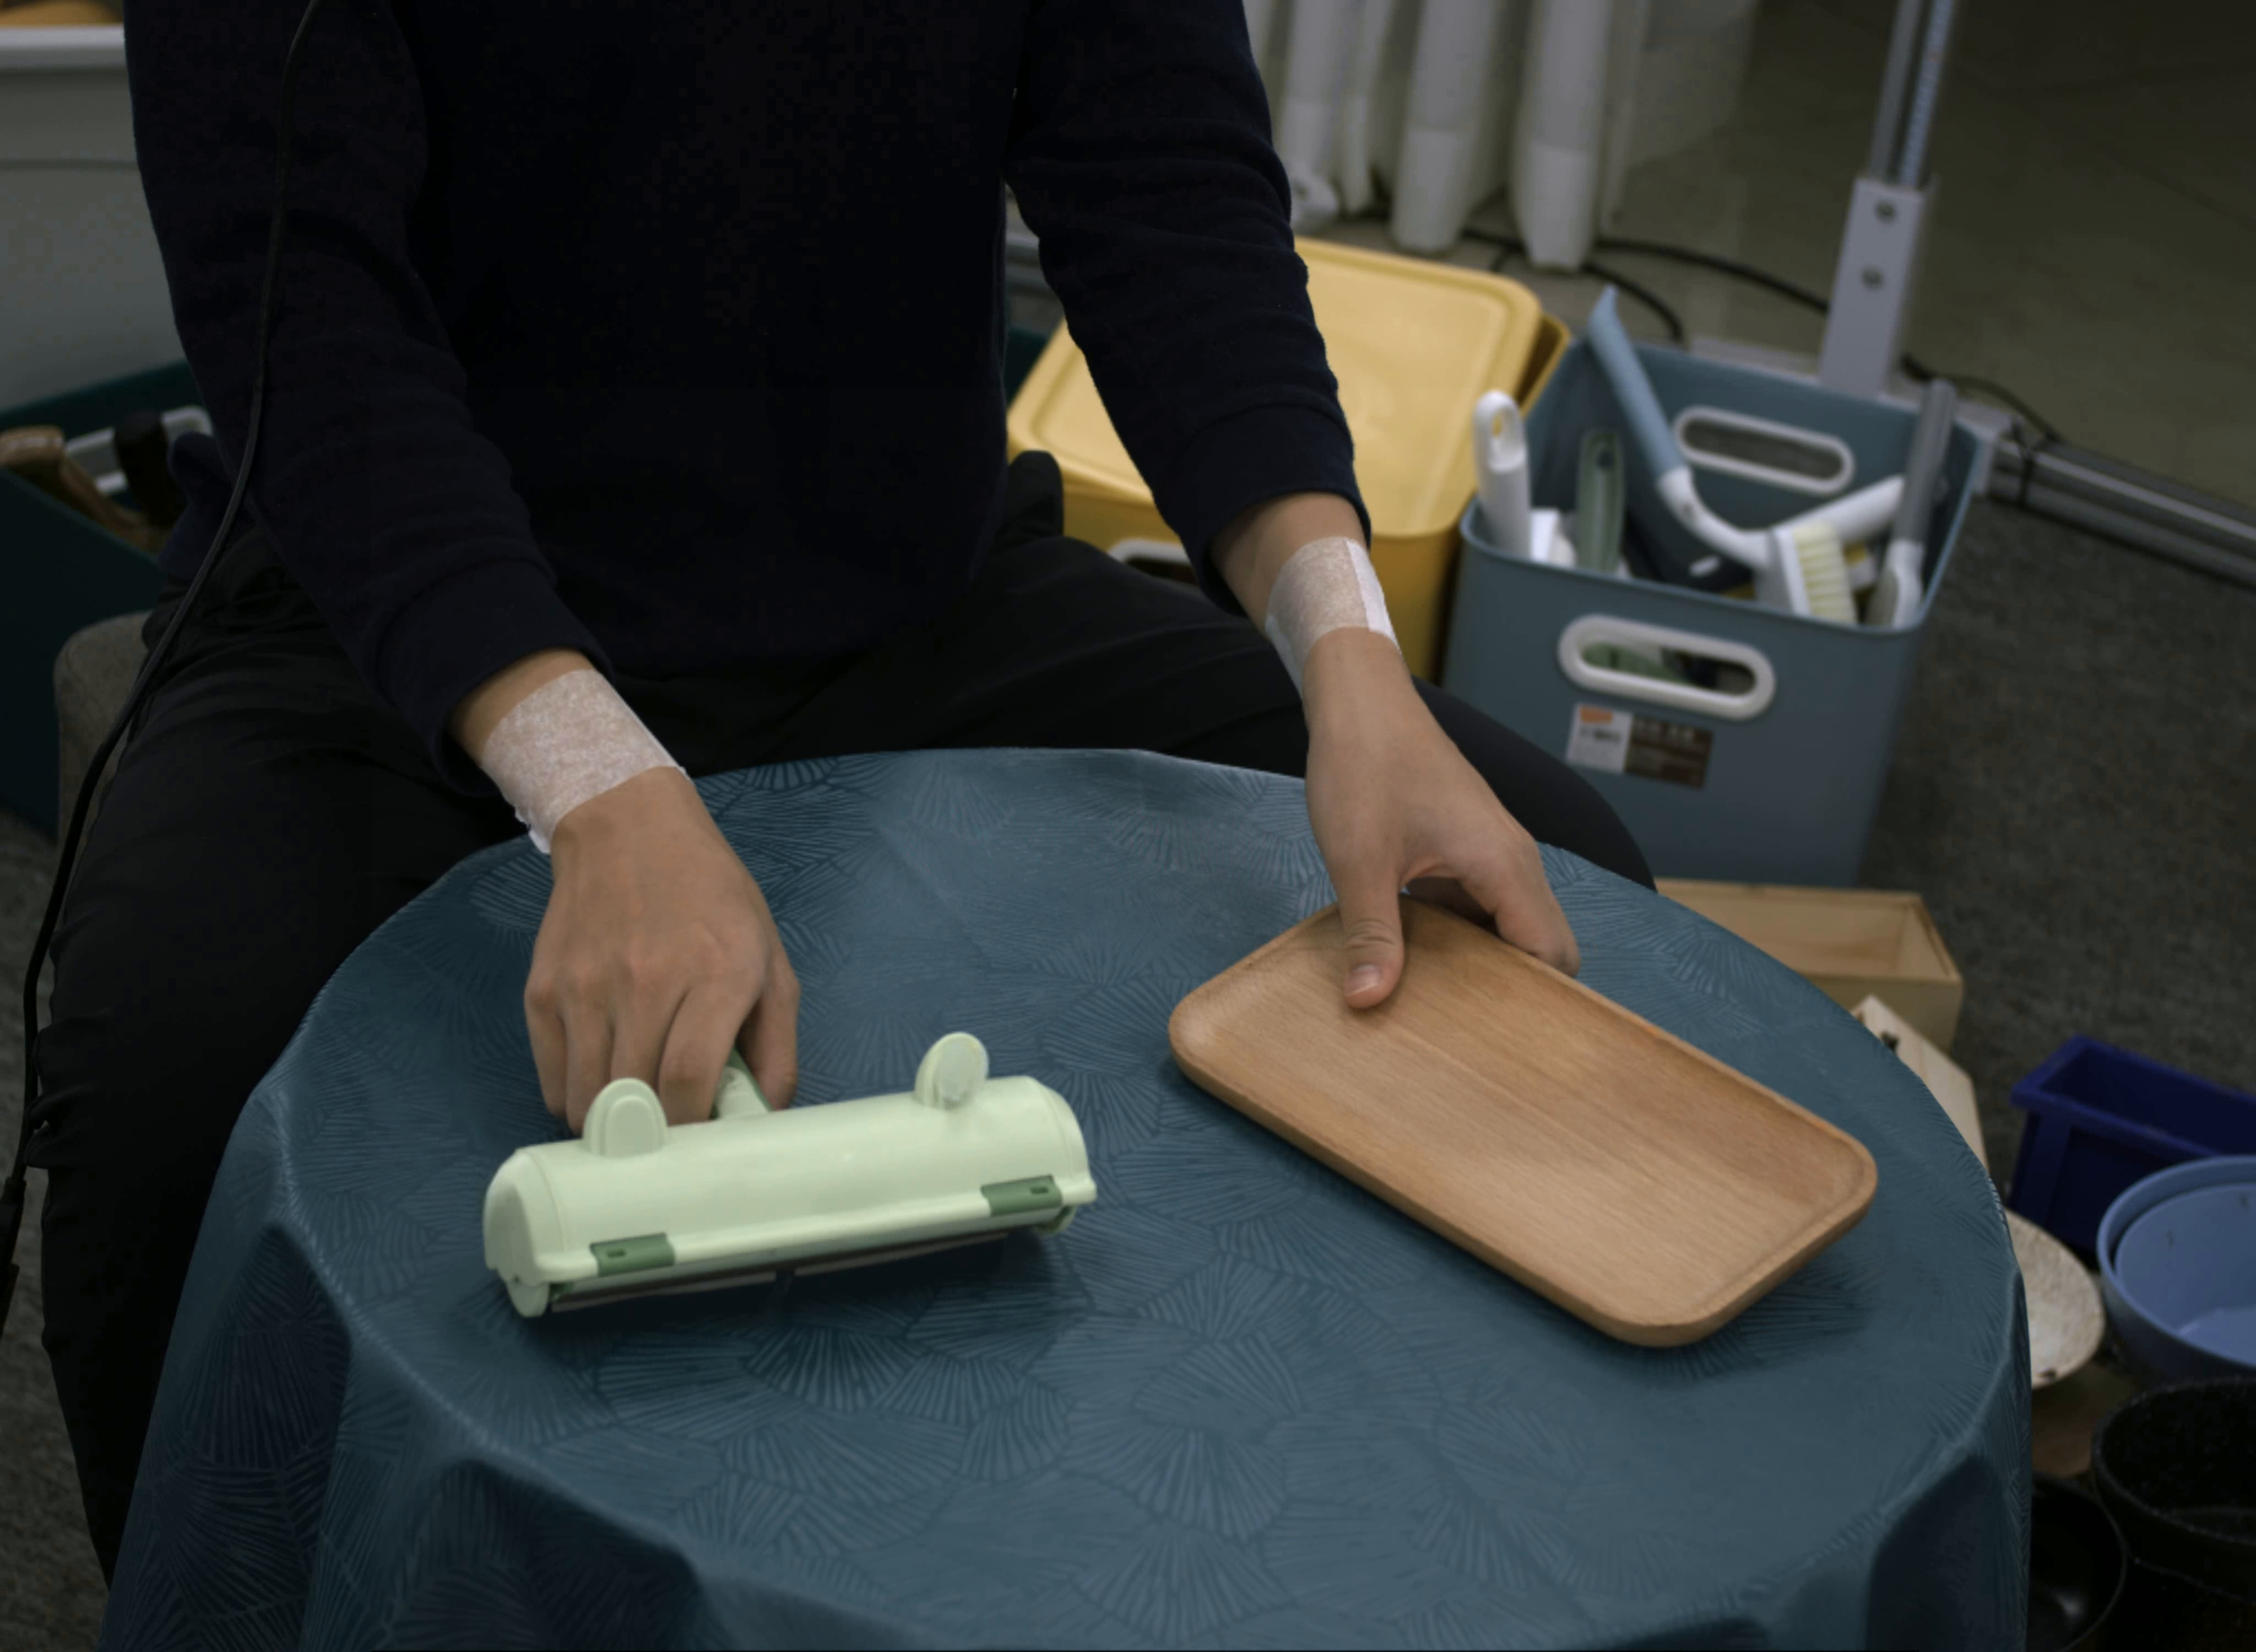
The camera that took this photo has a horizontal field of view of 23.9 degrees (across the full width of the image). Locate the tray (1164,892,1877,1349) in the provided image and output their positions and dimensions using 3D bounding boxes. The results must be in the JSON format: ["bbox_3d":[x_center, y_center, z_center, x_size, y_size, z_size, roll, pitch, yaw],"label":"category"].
[{"bbox_3d":[0.133,0.099,1.837,0.130,0.023,0.252,-28,41,-34],"label":"tray"}]

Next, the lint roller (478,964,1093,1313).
[{"bbox_3d":[-0.132,0.080,1.757,0.197,0.082,0.185,-6,38,-25],"label":"lint roller"}]
